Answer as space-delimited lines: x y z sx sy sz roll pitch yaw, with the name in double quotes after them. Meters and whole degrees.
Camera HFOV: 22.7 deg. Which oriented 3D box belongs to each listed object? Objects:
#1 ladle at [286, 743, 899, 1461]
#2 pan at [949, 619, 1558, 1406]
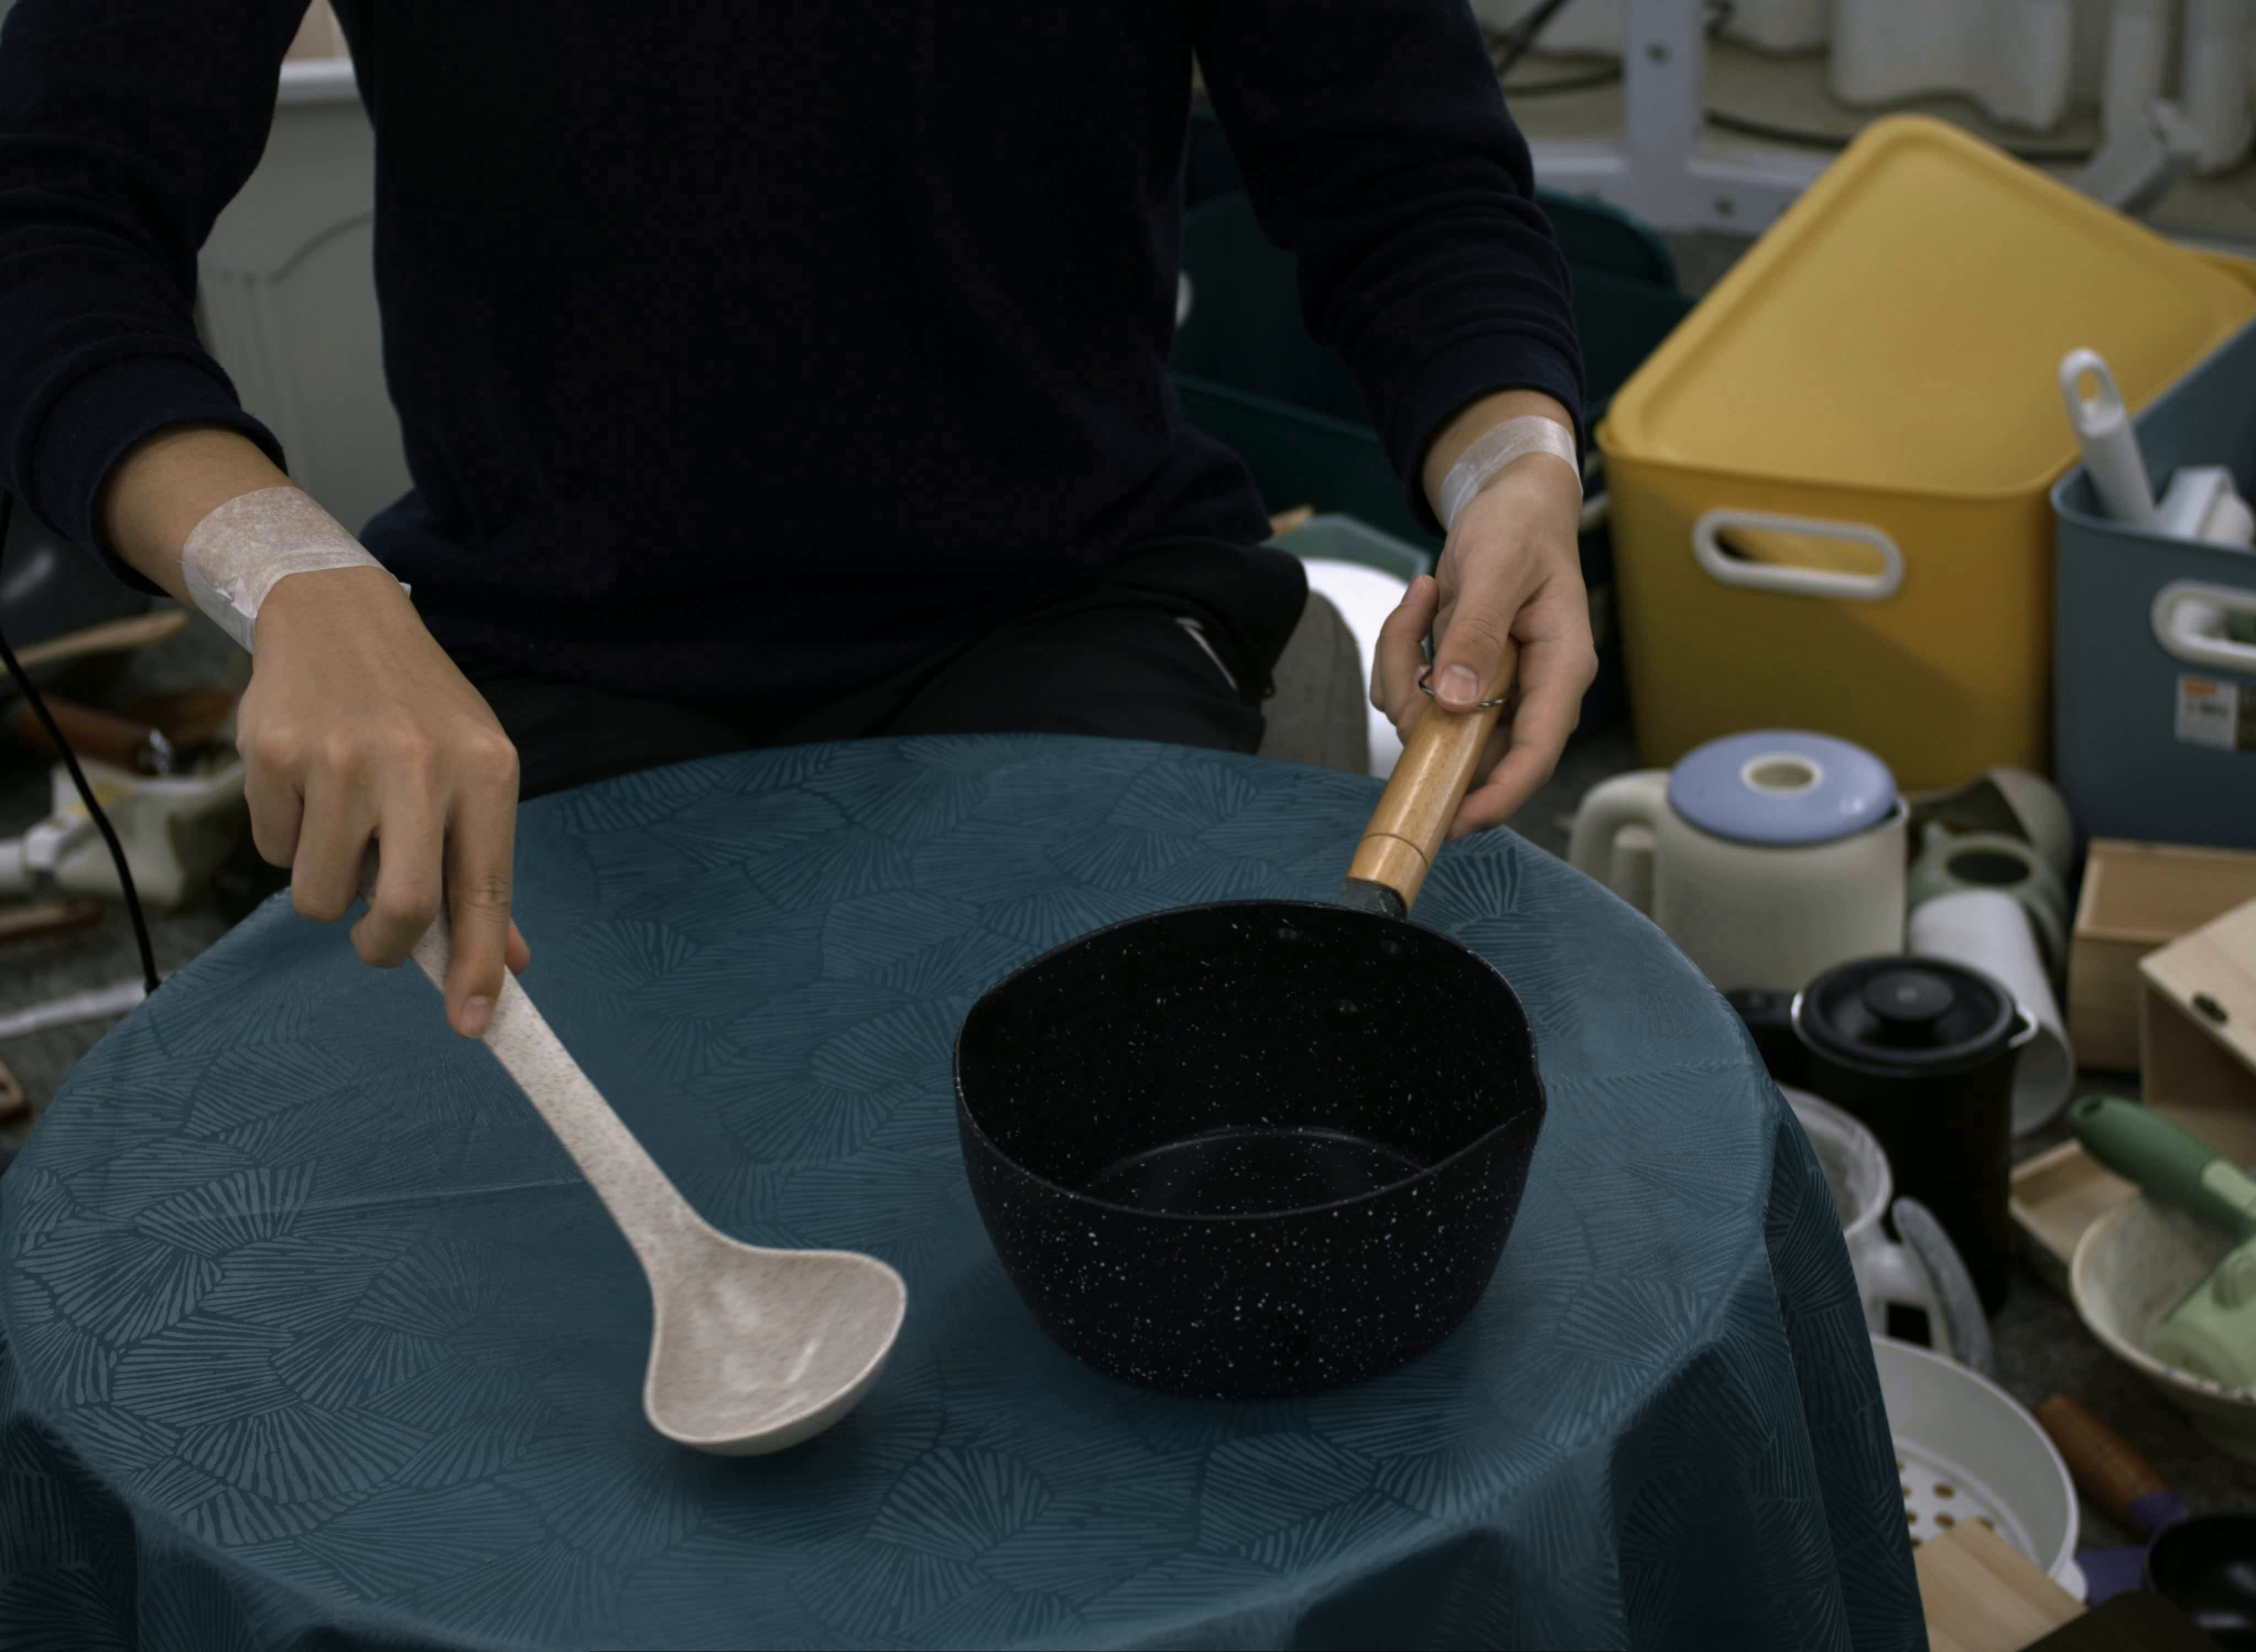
-0.175 0.077 1.742 0.090 0.276 0.068 -34 -7 -20 "ladle"
0.066 0.058 1.851 0.206 0.107 0.349 7 32 20 "pan"
